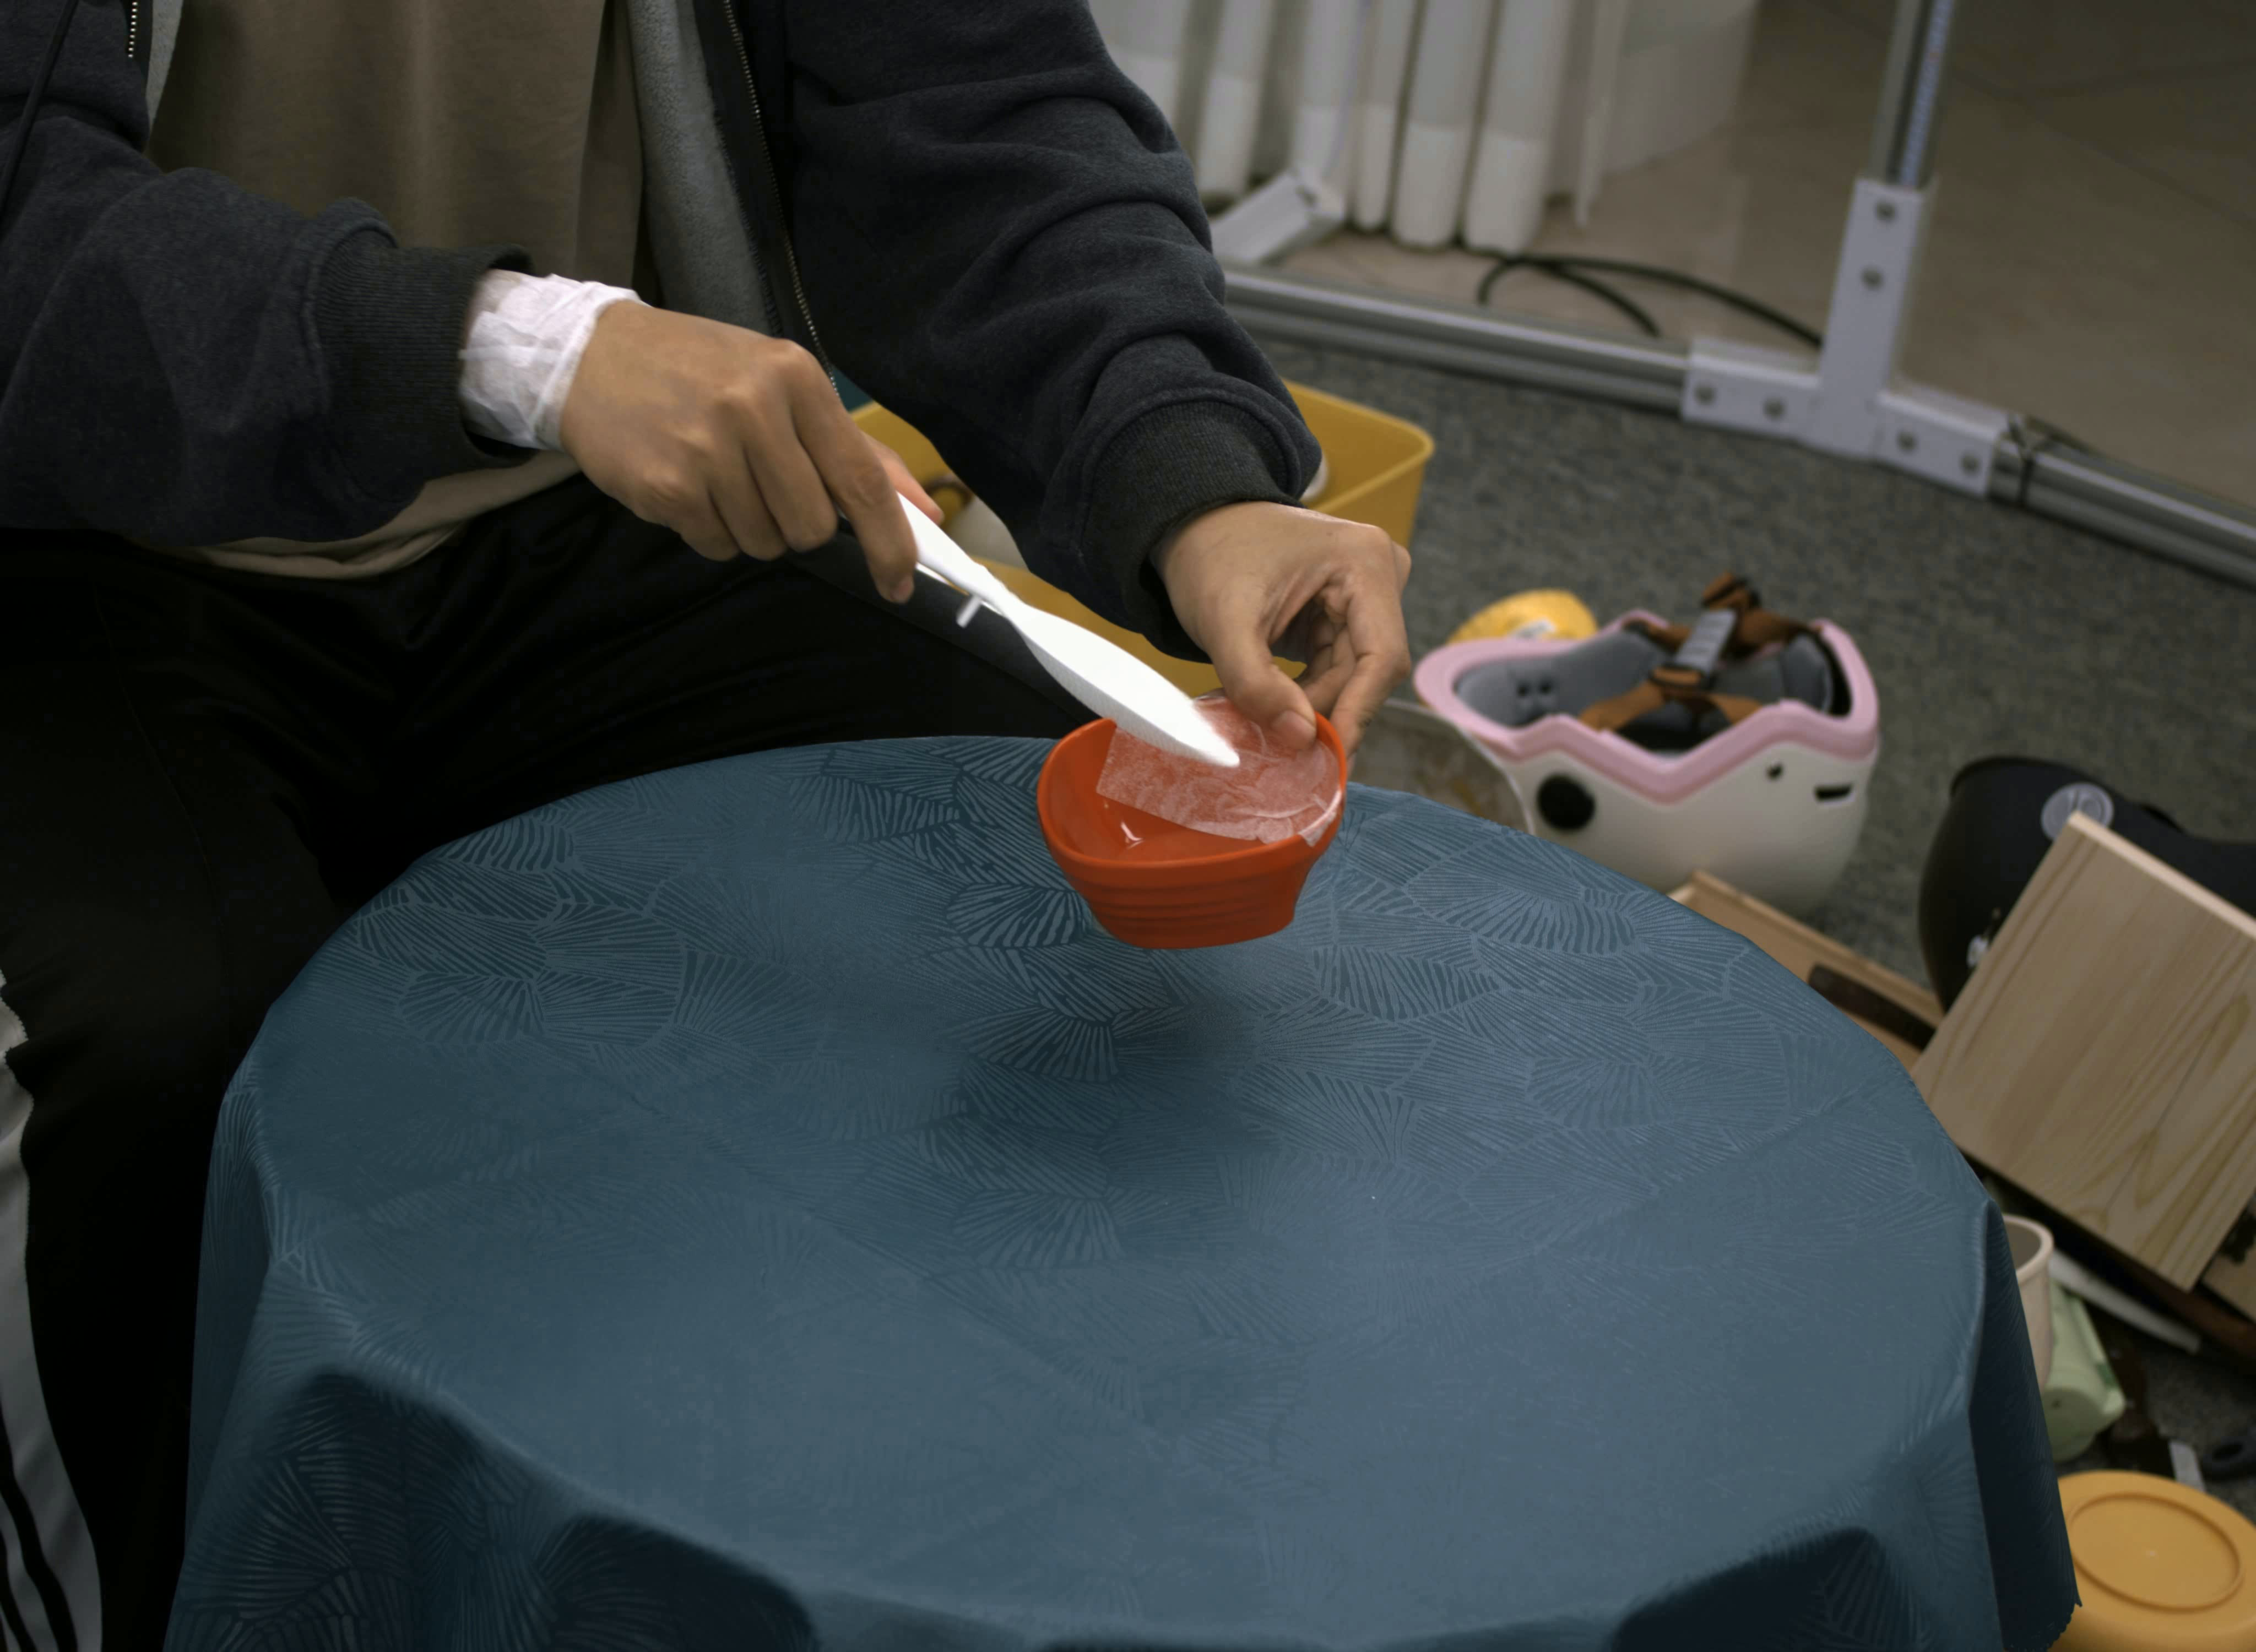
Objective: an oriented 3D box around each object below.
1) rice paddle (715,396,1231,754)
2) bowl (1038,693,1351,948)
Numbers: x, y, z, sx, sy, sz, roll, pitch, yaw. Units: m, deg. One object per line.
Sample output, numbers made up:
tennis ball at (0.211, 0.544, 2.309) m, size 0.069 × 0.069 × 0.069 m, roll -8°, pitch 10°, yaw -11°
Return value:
rice paddle at (-0.048, -0.082, 1.823) m, size 0.204 × 0.029 × 0.069 m, roll 32°, pitch 15°, yaw -12°
bowl at (0.026, 0.003, 1.873) m, size 0.118 × 0.051 × 0.120 m, roll -6°, pitch 32°, yaw 3°
